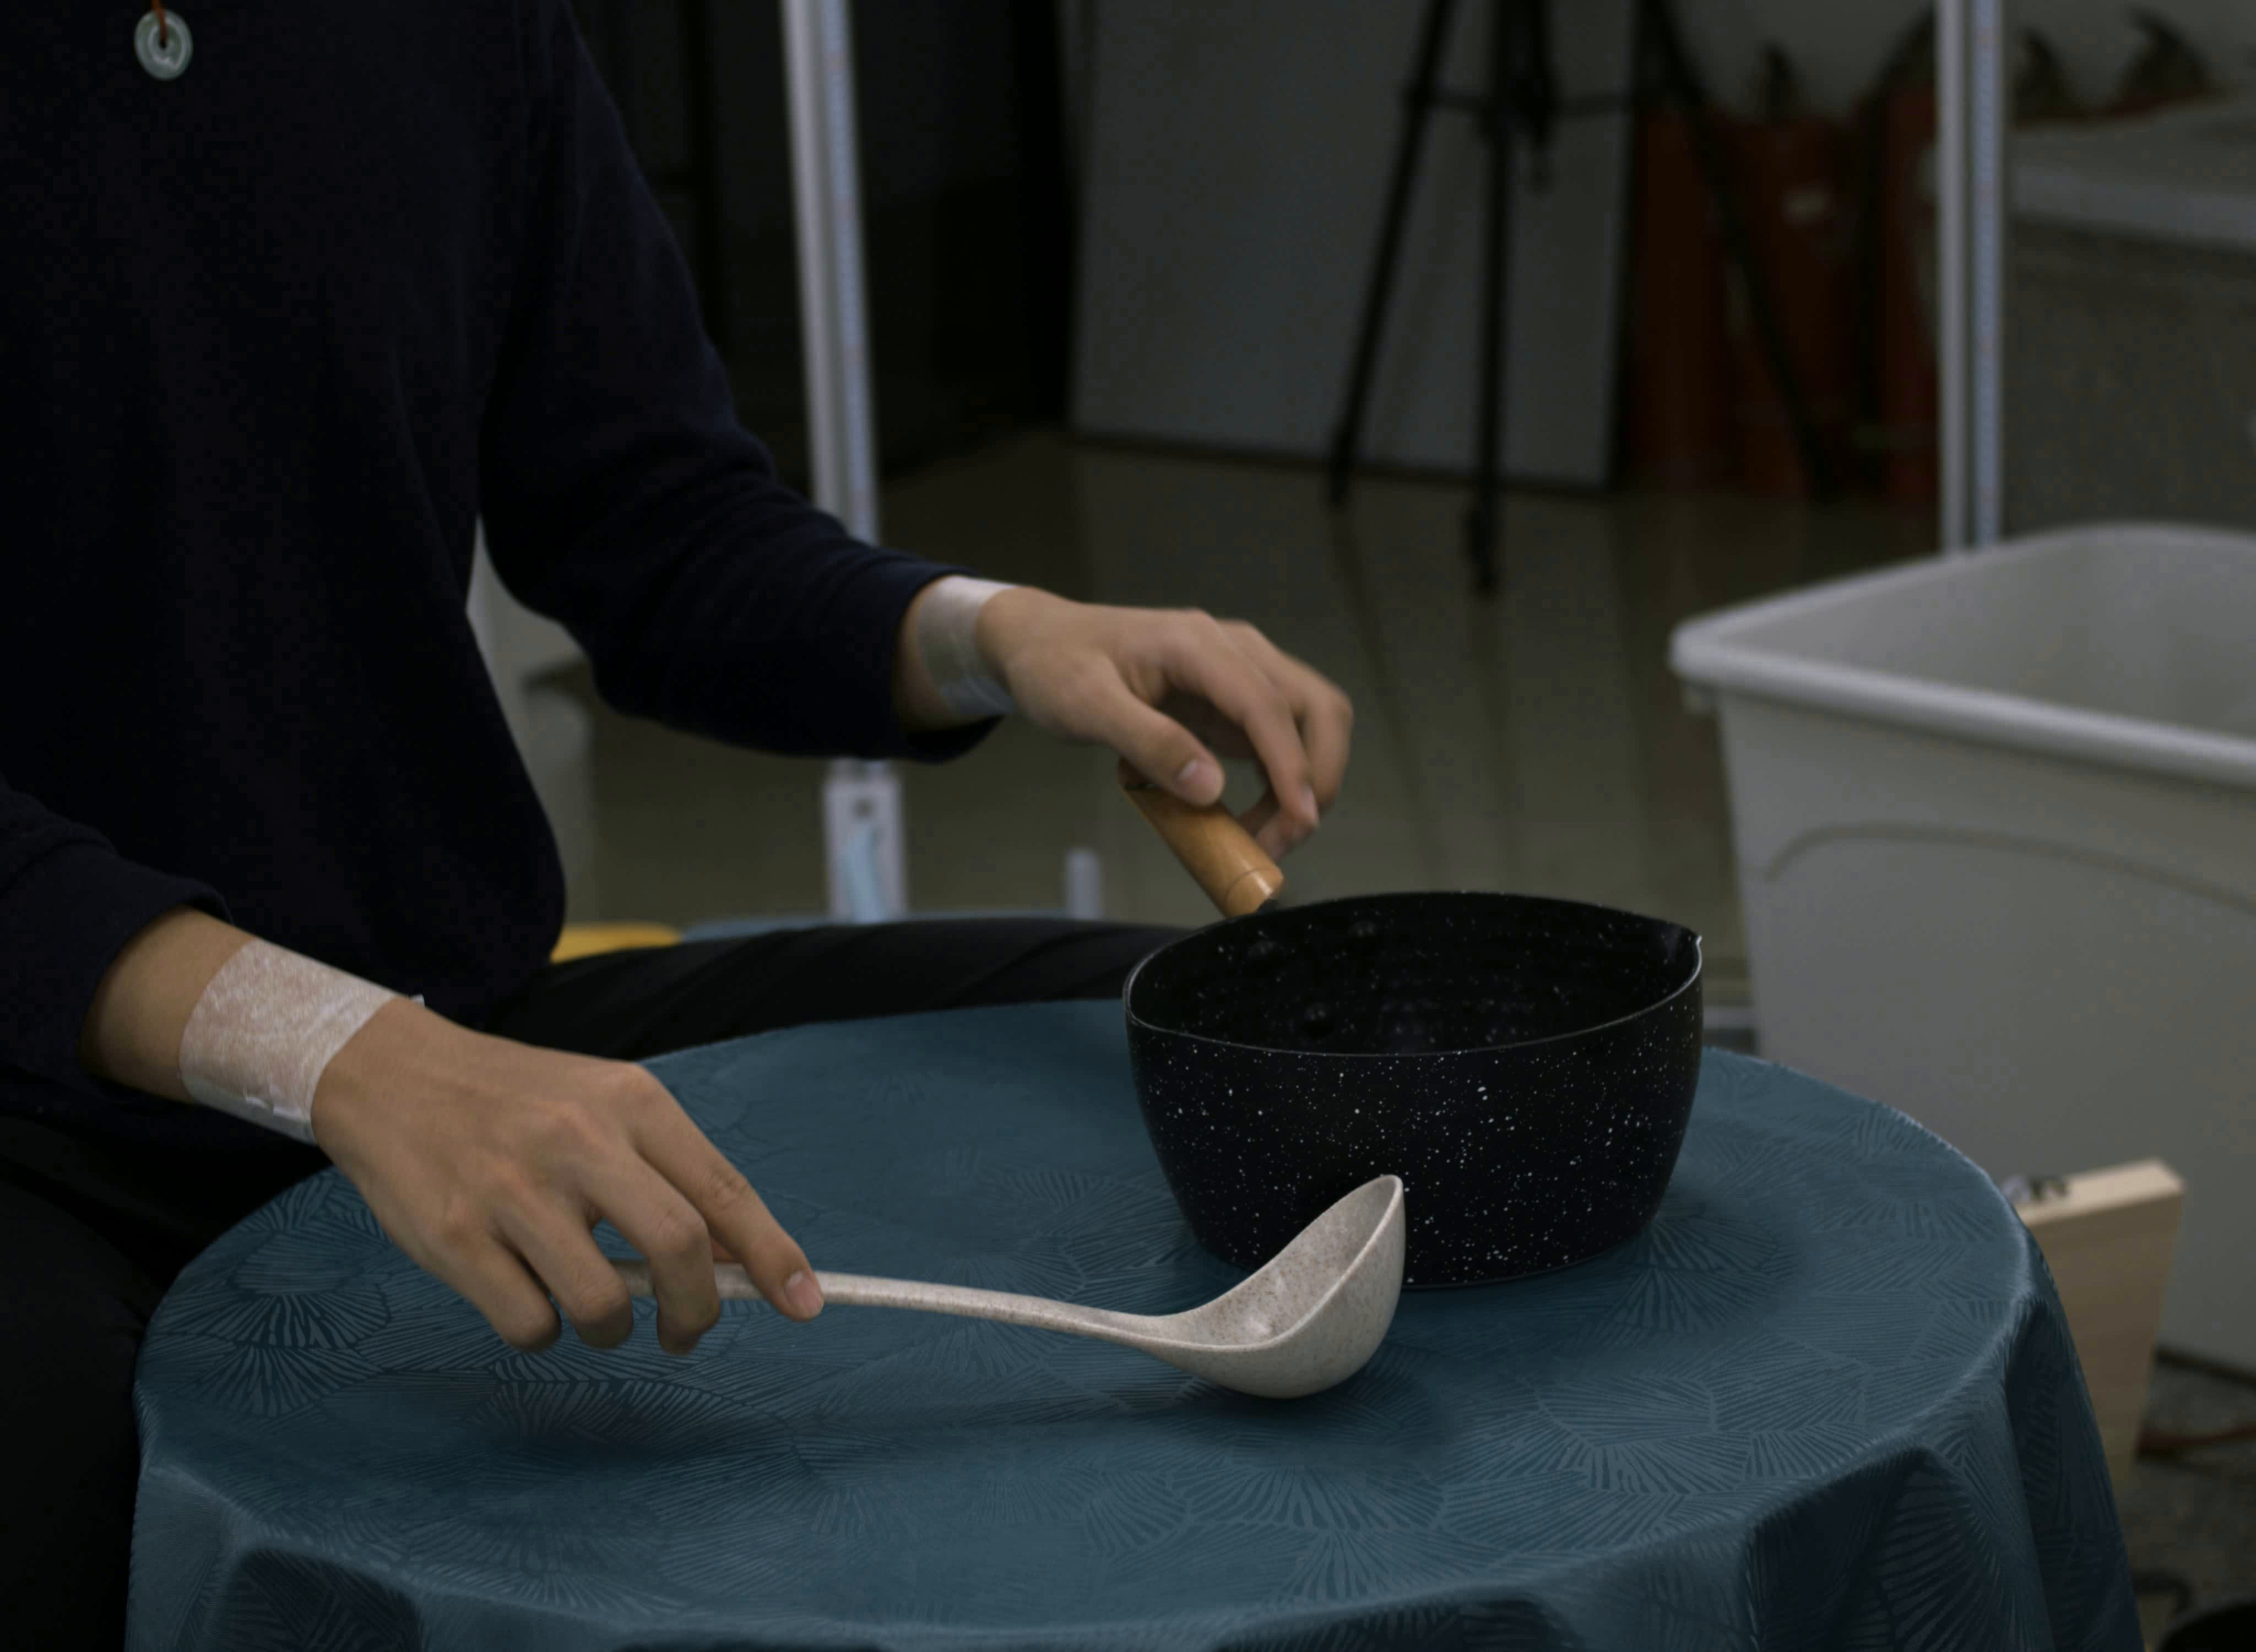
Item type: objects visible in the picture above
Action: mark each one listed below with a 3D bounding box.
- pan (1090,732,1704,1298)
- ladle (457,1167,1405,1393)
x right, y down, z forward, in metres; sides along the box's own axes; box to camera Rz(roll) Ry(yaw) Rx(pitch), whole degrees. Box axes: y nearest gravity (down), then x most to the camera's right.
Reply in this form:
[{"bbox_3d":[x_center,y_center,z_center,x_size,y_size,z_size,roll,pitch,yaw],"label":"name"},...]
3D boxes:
[{"bbox_3d":[0.064,0.057,1.785,0.203,0.109,0.346,-10,16,-18],"label":"pan"},{"bbox_3d":[-0.055,0.113,1.566,0.271,0.070,0.089,9,14,-1],"label":"ladle"}]
